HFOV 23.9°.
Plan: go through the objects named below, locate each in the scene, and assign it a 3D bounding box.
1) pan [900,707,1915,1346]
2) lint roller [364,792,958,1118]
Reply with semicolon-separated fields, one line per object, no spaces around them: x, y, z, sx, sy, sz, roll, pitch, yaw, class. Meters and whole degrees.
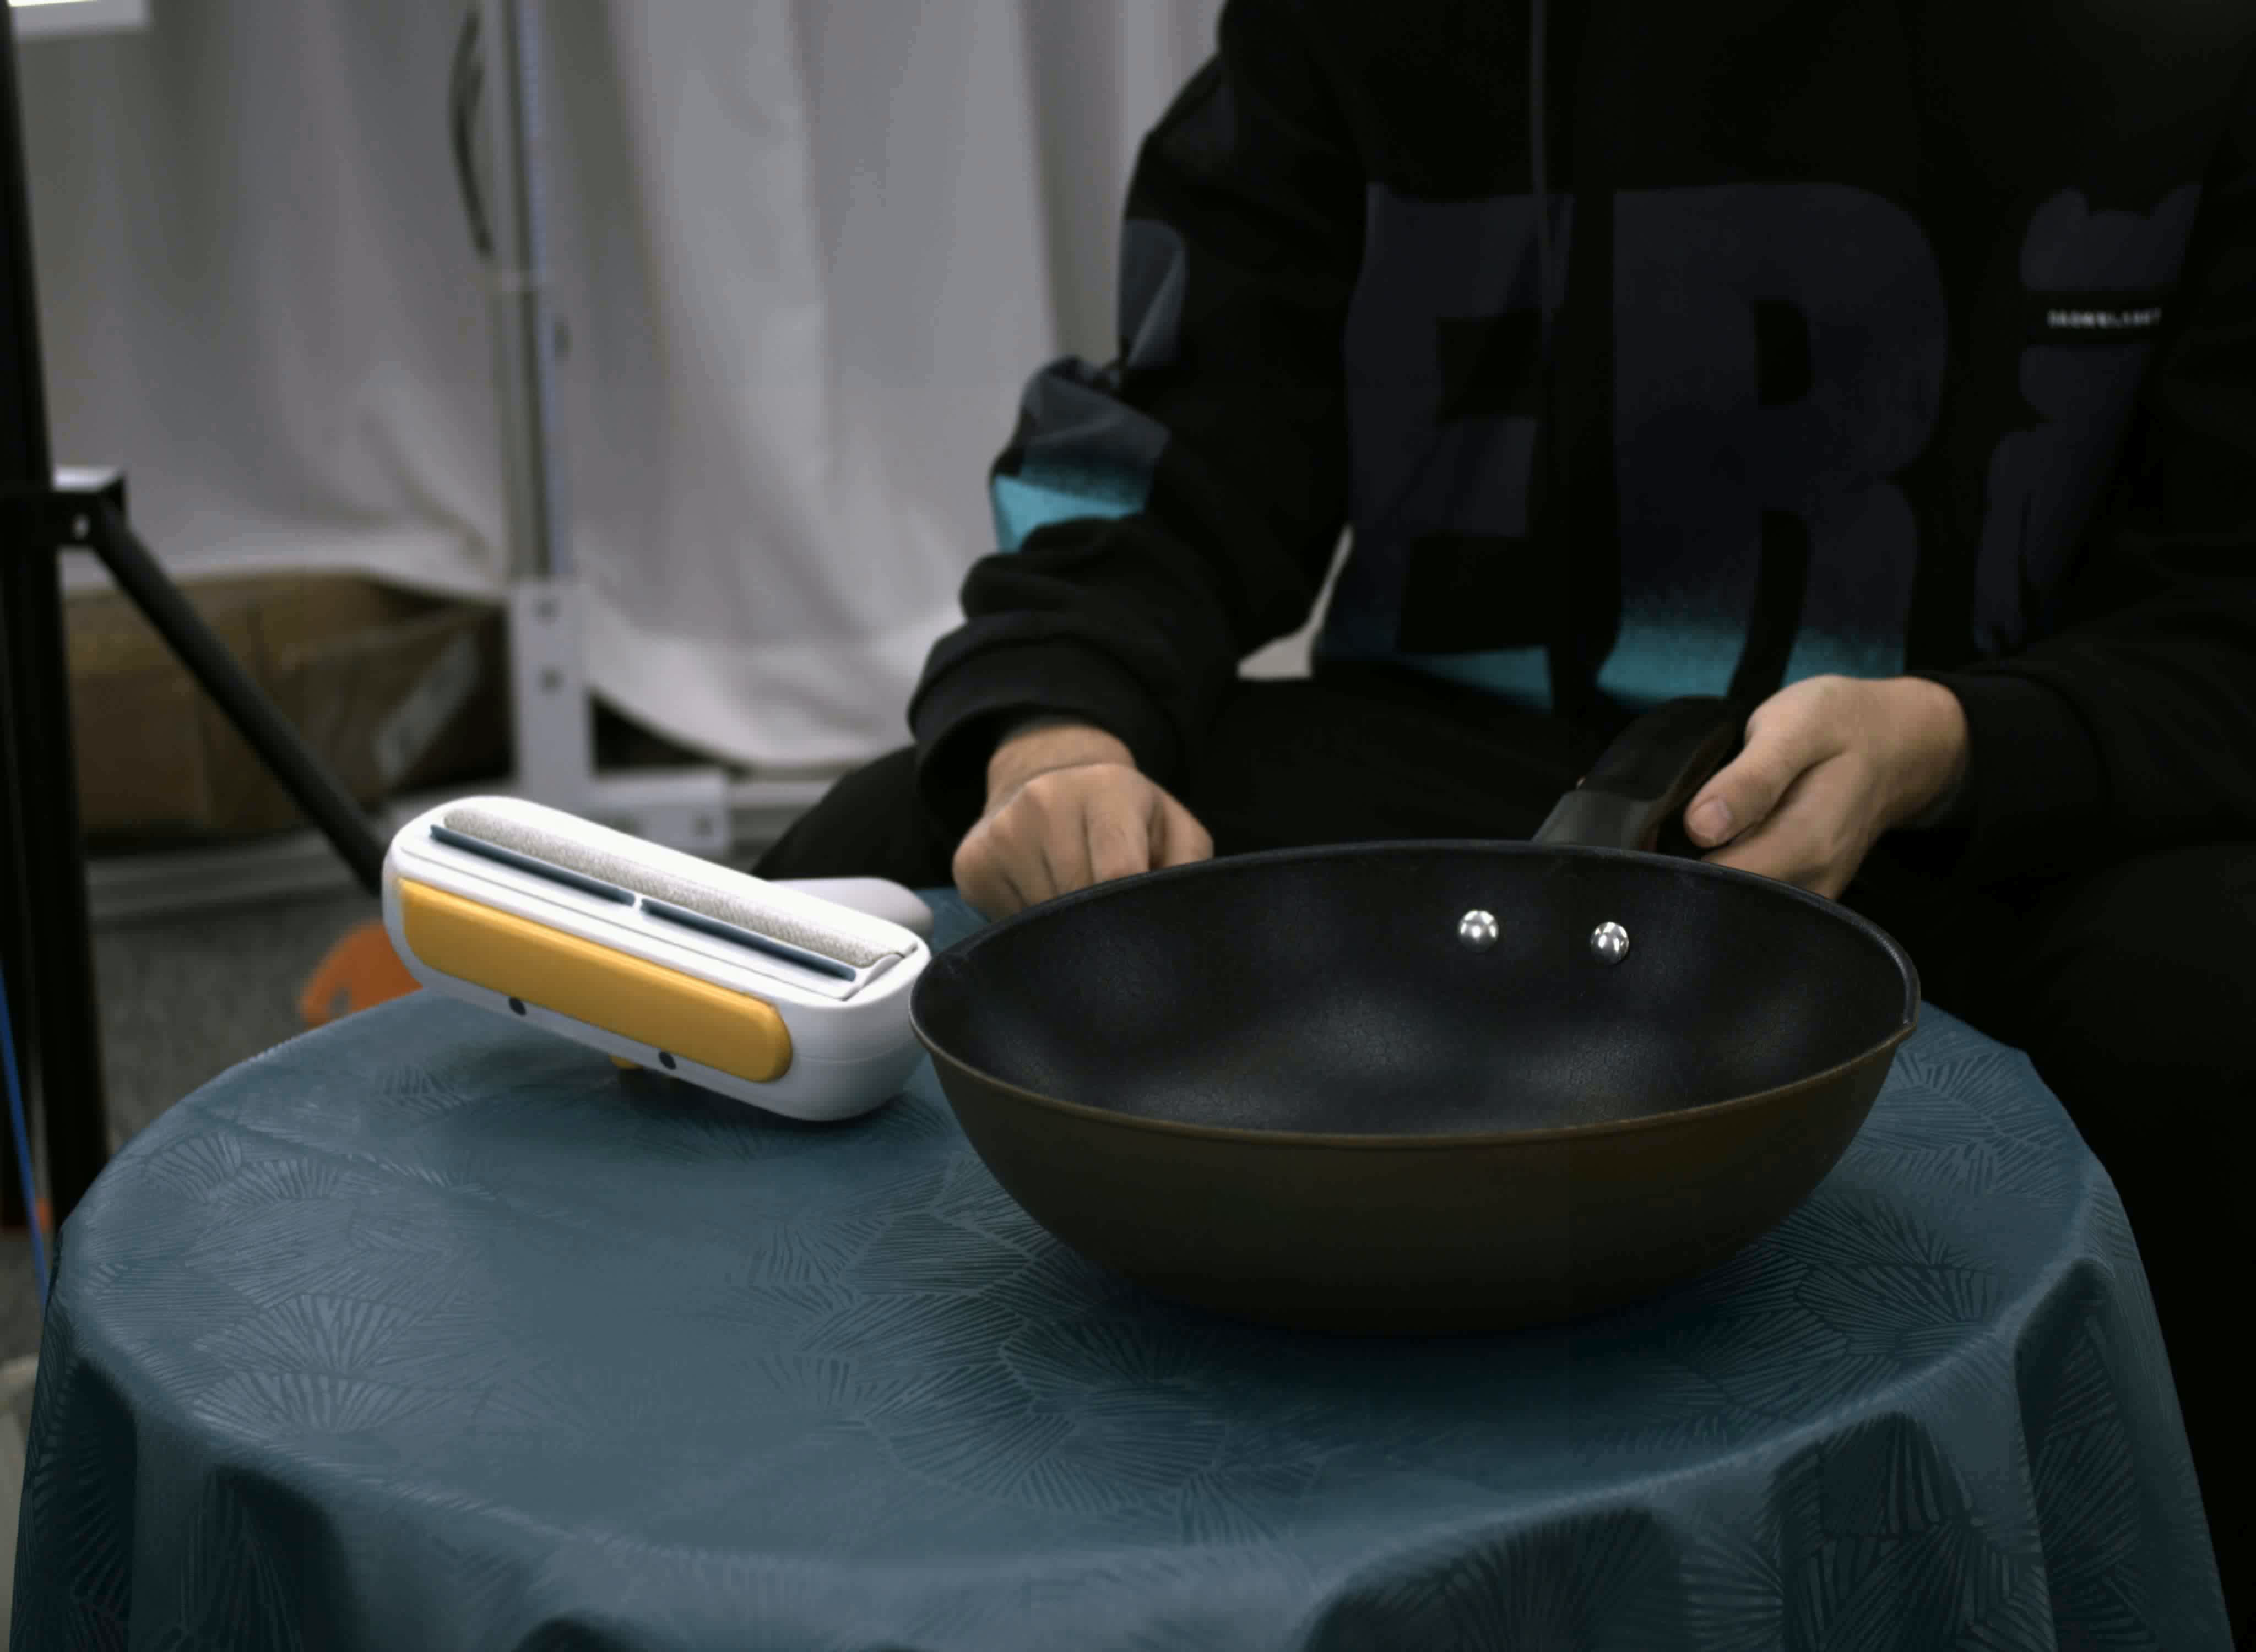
0.111;0.056;1.569;0.292;0.087;0.457;4;17;22;pan
-0.122;0.033;1.720;0.197;0.074;0.188;14;21;33;lint roller
